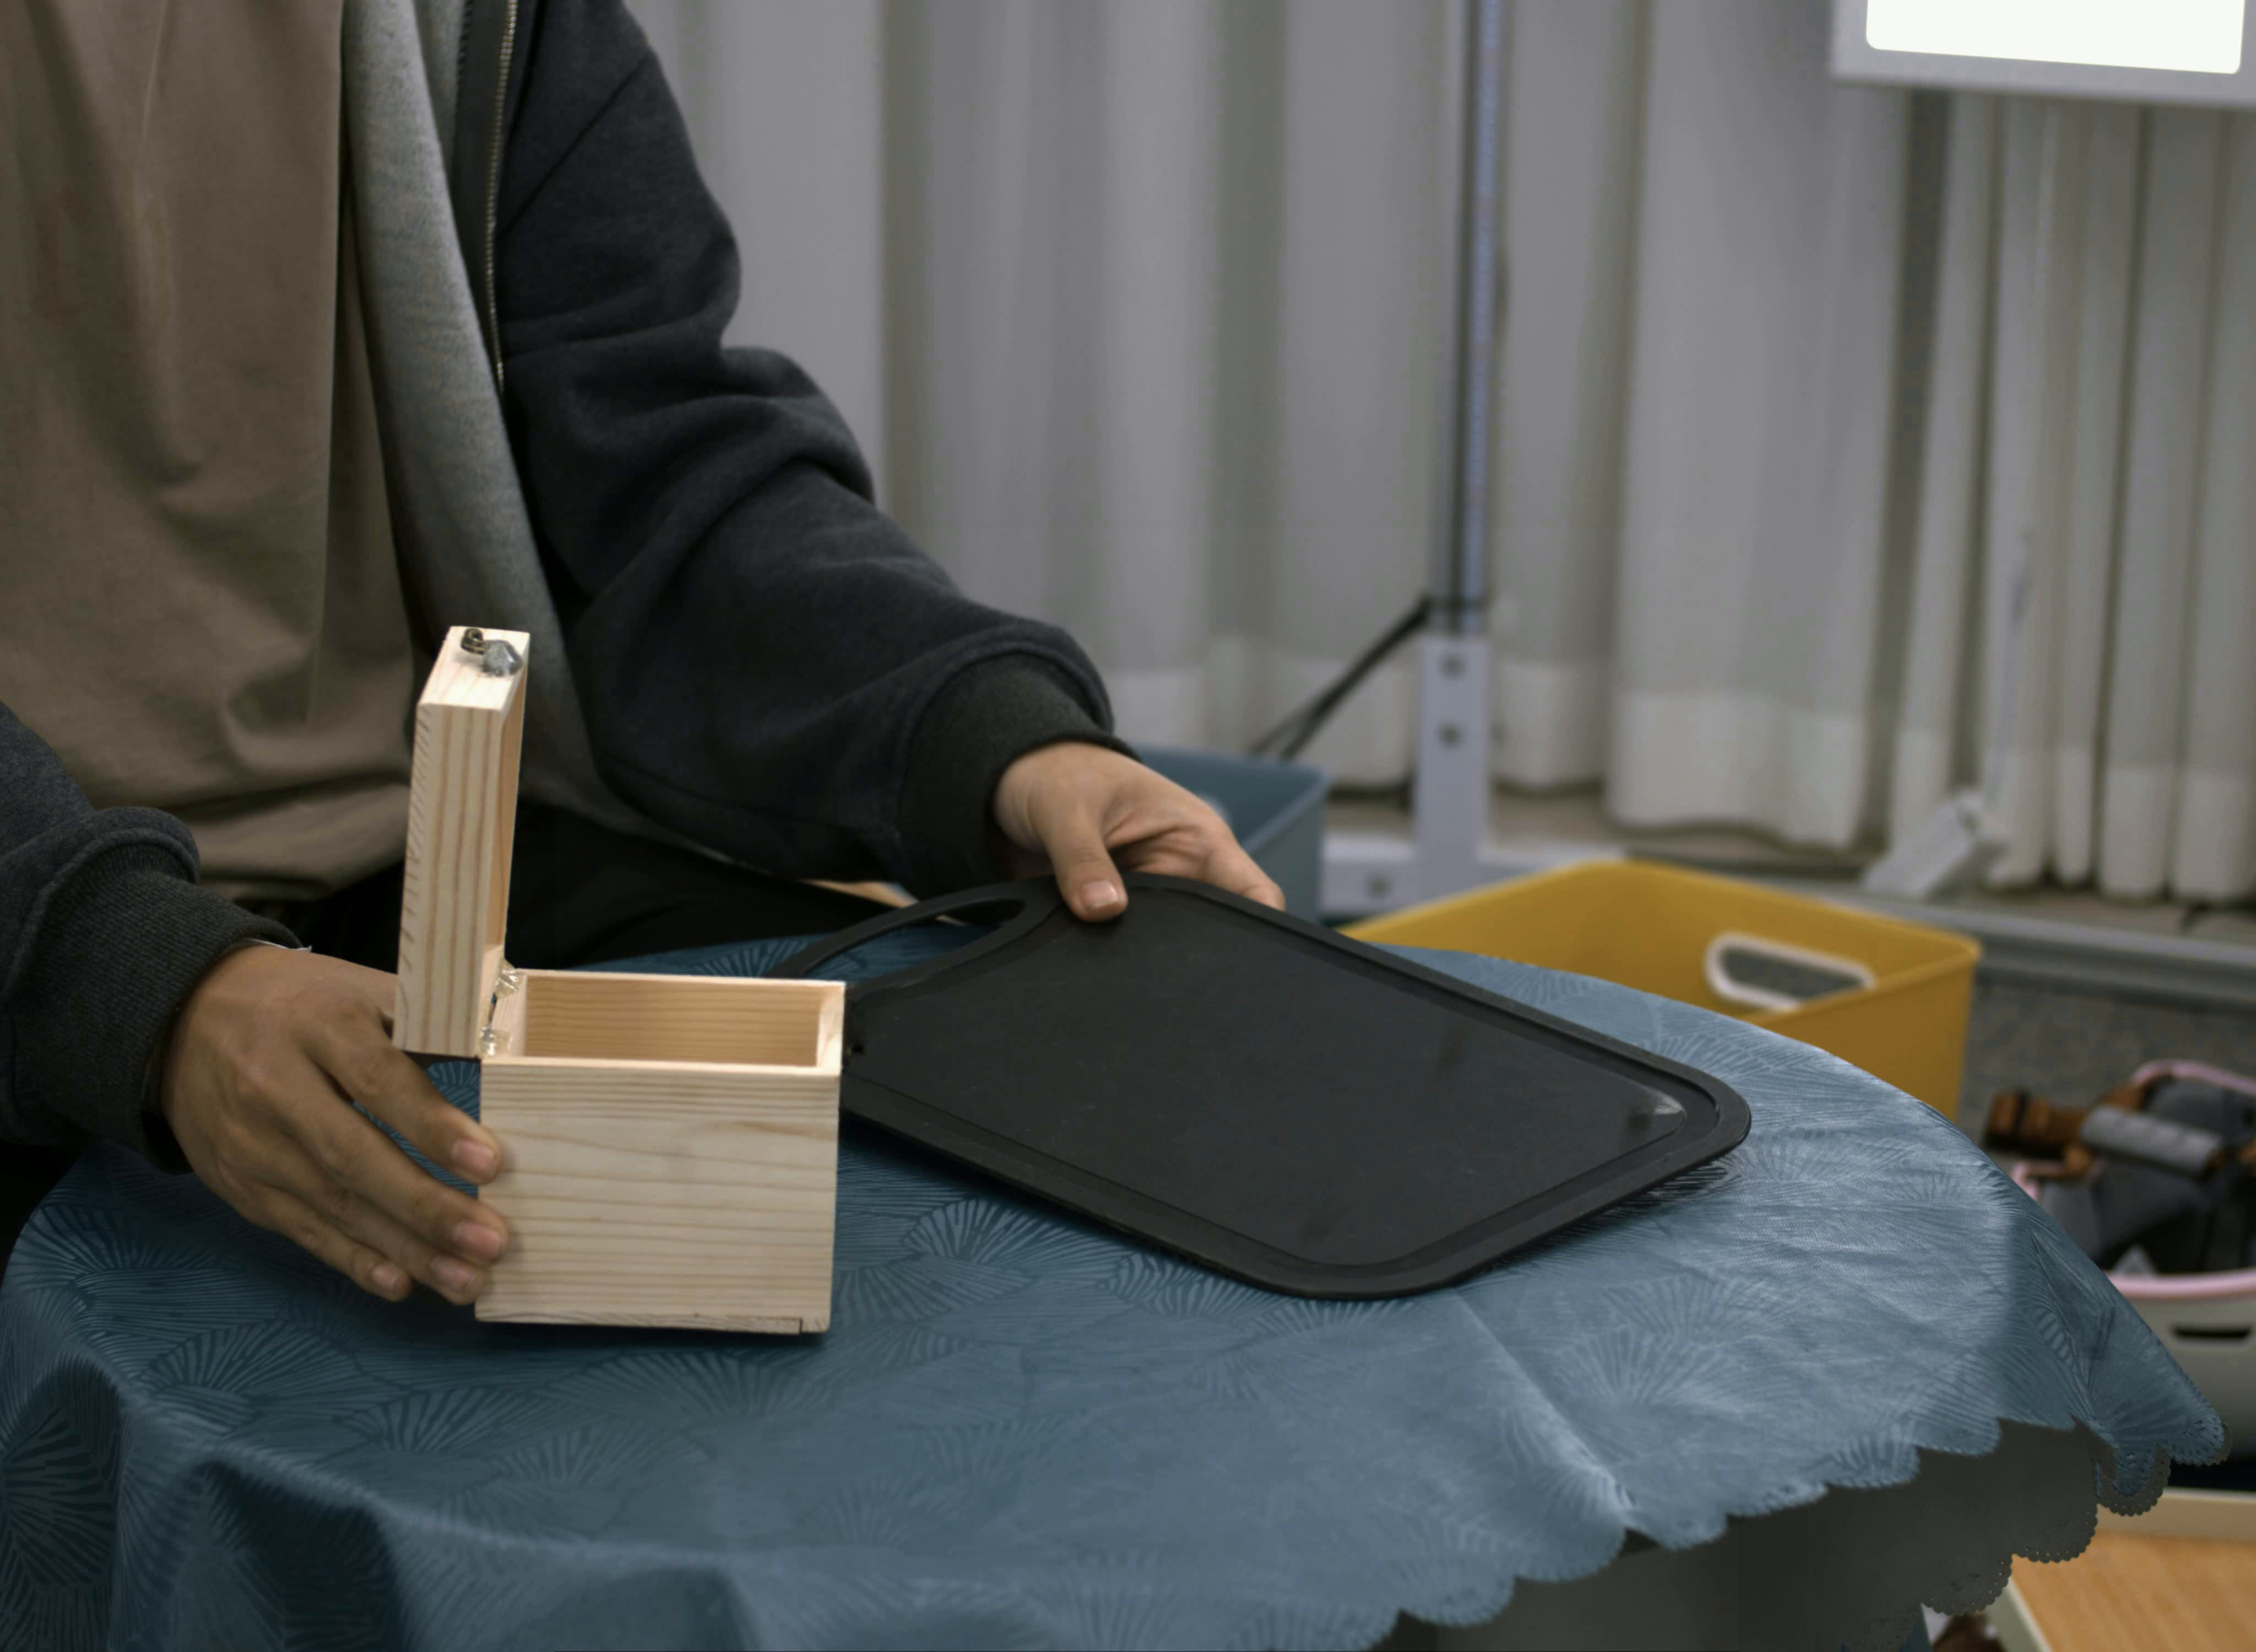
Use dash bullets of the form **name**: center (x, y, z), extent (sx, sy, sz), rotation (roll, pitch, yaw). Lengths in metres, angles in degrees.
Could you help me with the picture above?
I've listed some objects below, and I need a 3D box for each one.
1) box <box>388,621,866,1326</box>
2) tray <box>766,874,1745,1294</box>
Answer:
- **box**: center (-0.141, 0.040, 1.509), extent (0.133, 0.186, 0.102), rotation (1, 14, -4)
- **tray**: center (0.024, 0.074, 1.686), extent (0.321, 0.010, 0.212), rotation (21, 29, 41)
